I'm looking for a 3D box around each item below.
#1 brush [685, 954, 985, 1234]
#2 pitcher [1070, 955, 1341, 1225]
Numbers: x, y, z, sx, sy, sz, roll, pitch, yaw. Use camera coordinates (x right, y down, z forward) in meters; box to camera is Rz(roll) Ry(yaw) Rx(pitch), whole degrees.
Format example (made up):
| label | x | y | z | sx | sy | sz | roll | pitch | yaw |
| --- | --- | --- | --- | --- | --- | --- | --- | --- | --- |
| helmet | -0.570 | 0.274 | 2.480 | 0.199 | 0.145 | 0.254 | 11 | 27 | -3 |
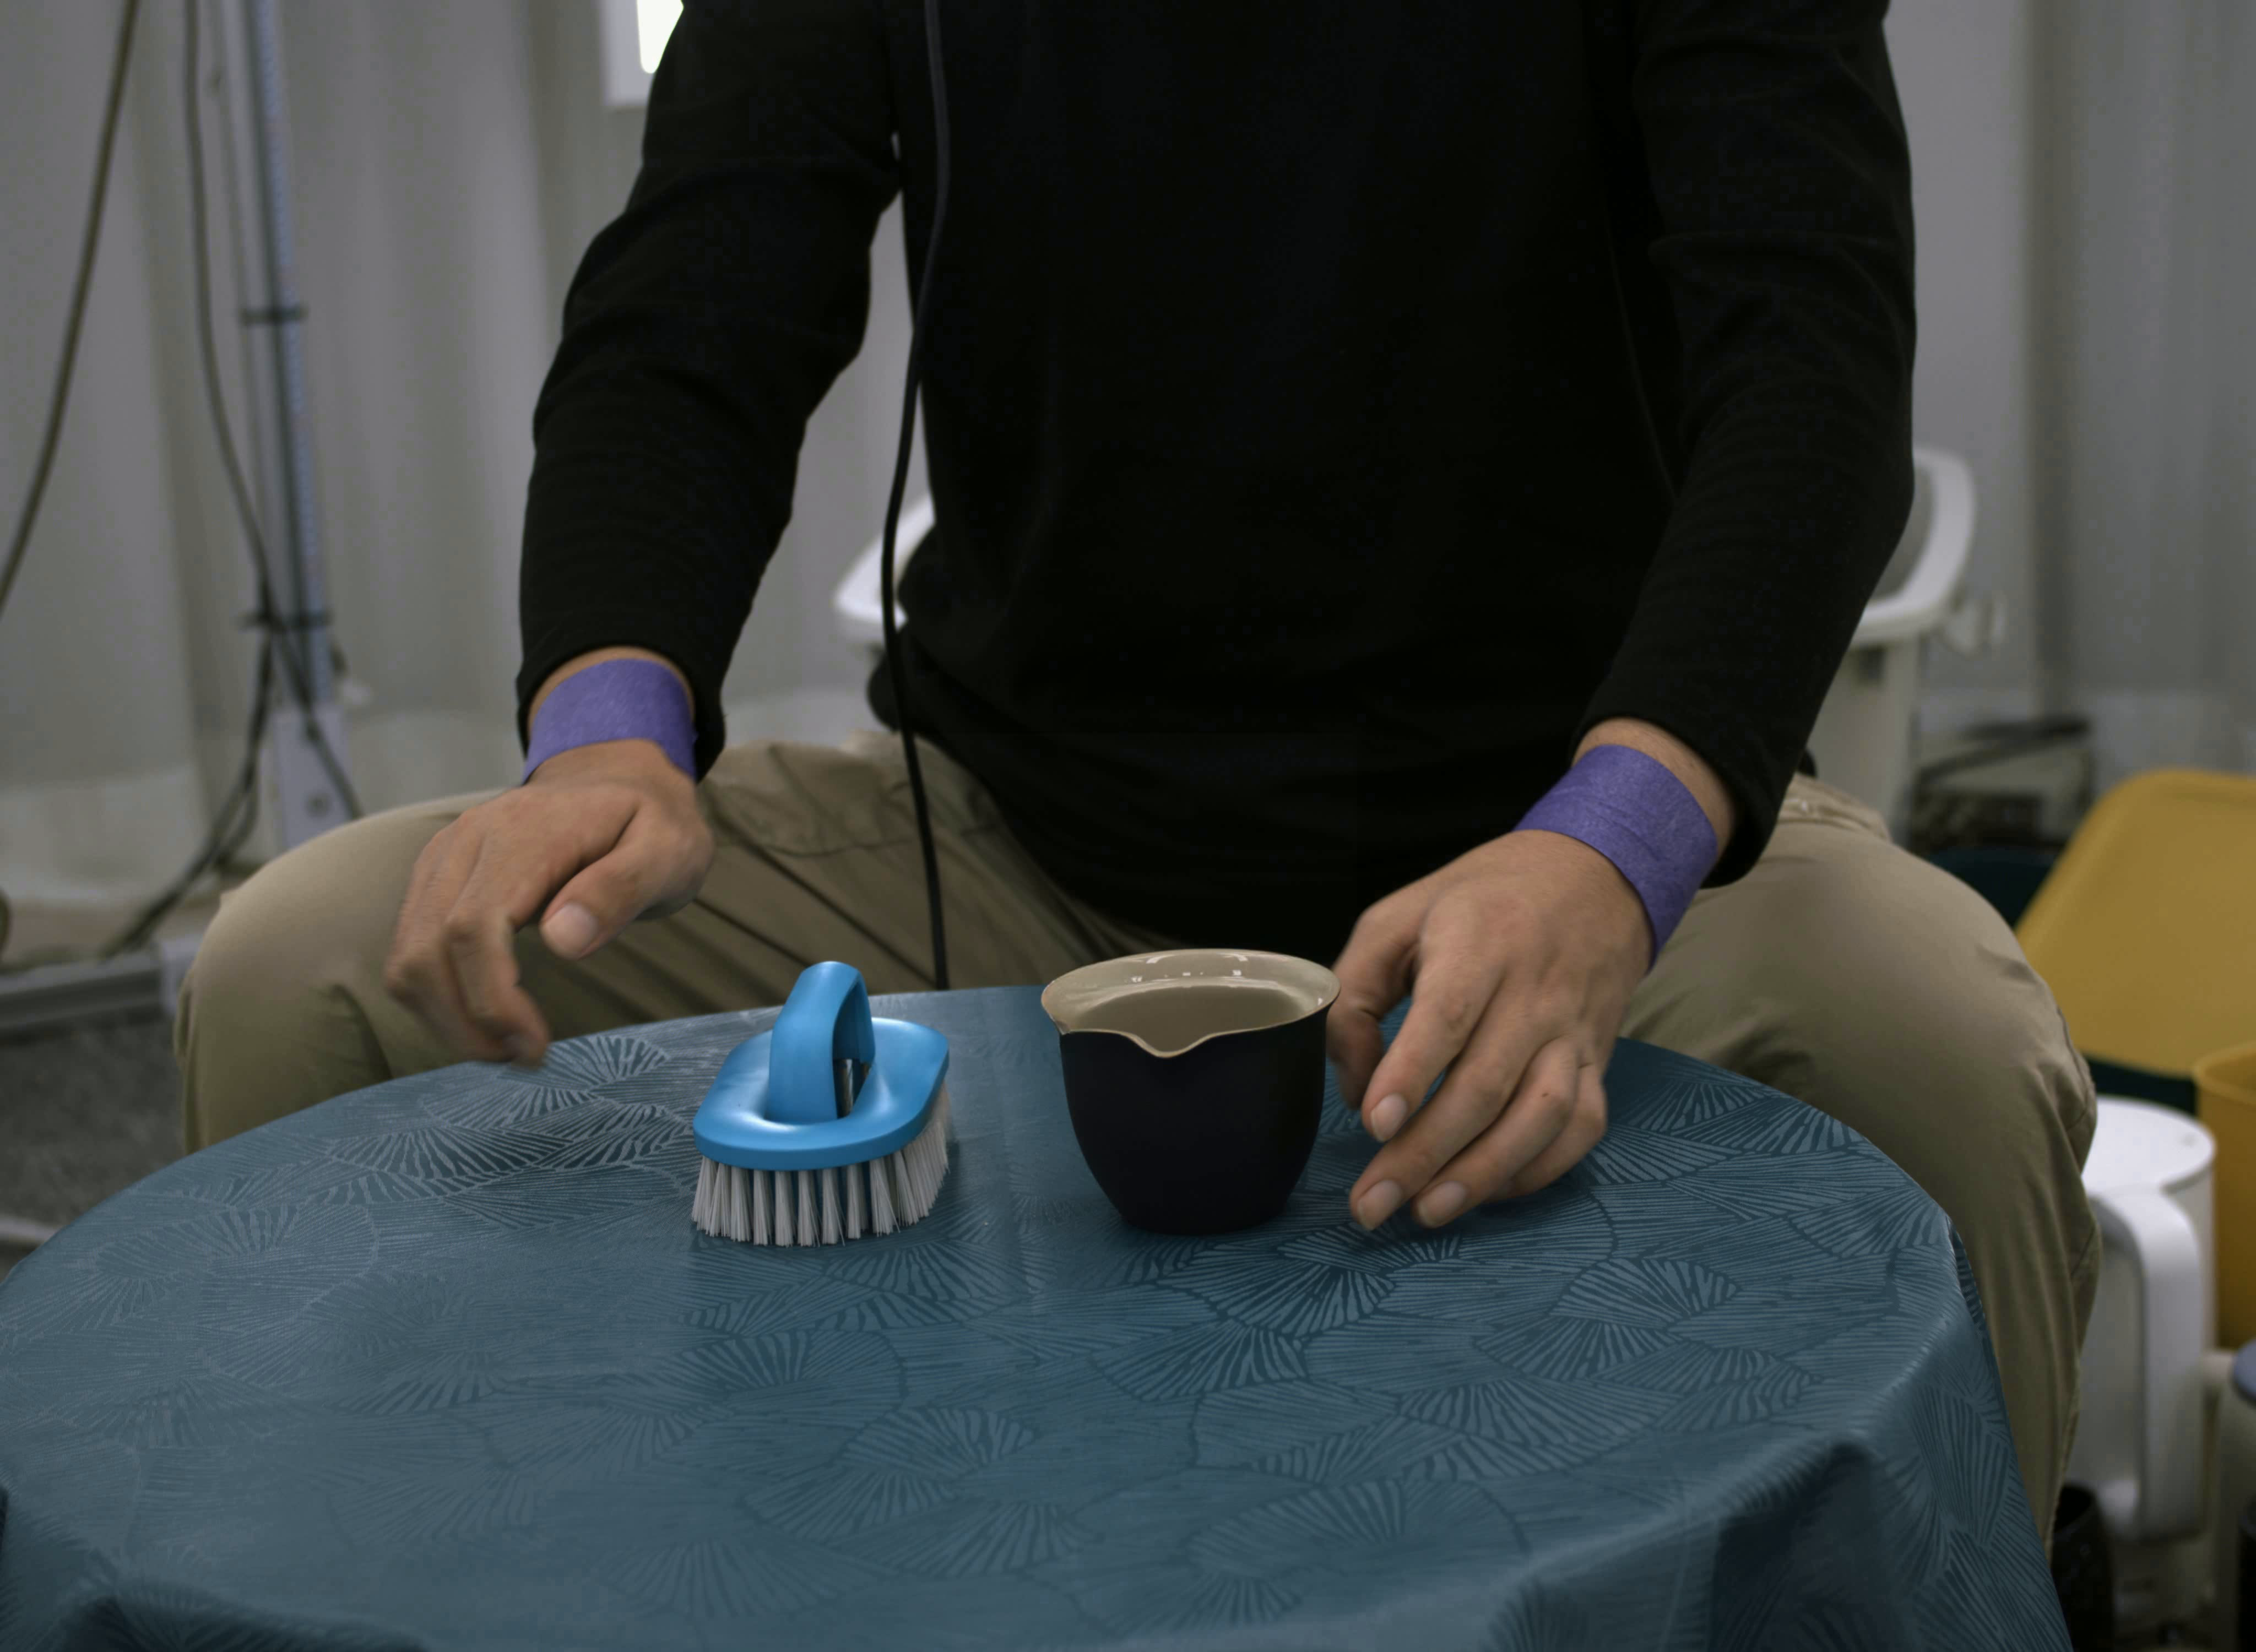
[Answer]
| label | x | y | z | sx | sy | sz | roll | pitch | yaw |
| --- | --- | --- | --- | --- | --- | --- | --- | --- | --- |
| brush | -0.094 | 0.079 | 1.739 | 0.084 | 0.063 | 0.142 | -6 | 13 | 8 |
| pitcher | 0.023 | 0.083 | 1.685 | 0.083 | 0.071 | 0.096 | 2 | 17 | 15 |
